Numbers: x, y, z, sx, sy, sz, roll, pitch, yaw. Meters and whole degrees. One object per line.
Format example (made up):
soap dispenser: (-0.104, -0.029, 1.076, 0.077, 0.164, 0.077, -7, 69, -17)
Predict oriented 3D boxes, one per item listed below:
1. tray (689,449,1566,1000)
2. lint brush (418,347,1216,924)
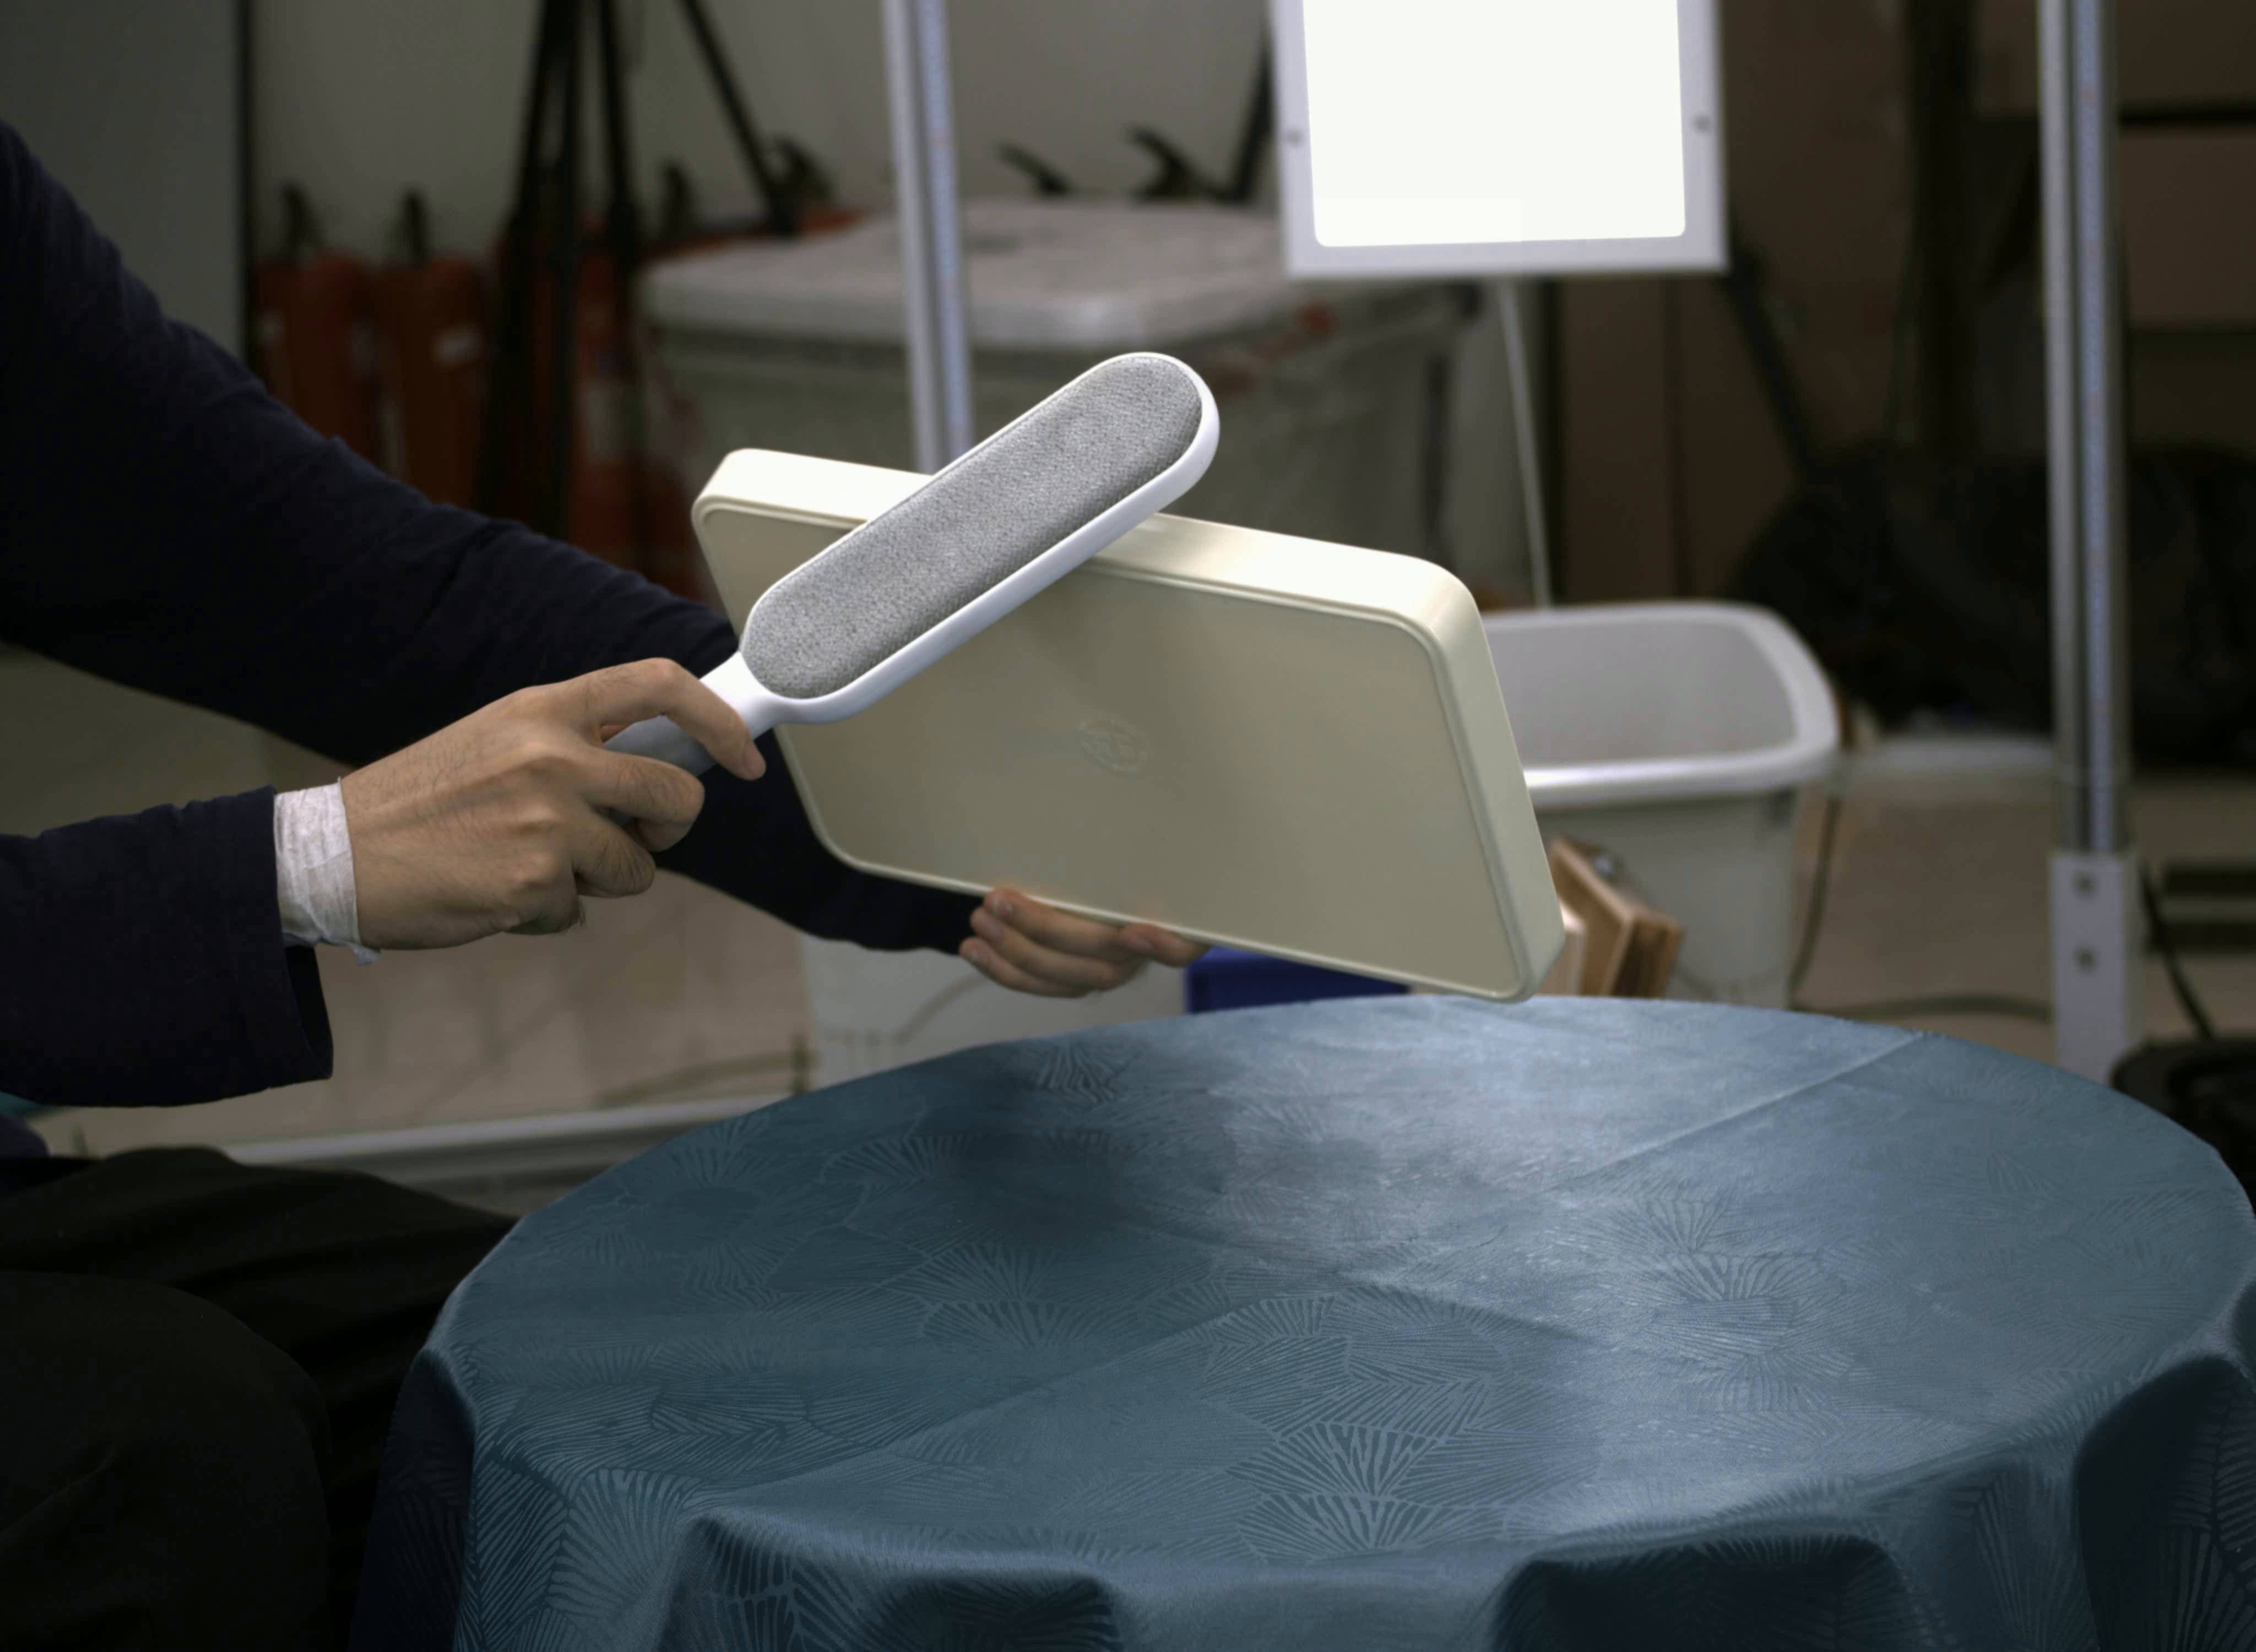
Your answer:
tray: (-0.001, -0.035, 1.902, 0.306, 0.191, 0.027, 10, 49, 31)
lint brush: (-0.103, -0.061, 1.804, 0.309, 0.060, 0.021, -34, -30, 2)
